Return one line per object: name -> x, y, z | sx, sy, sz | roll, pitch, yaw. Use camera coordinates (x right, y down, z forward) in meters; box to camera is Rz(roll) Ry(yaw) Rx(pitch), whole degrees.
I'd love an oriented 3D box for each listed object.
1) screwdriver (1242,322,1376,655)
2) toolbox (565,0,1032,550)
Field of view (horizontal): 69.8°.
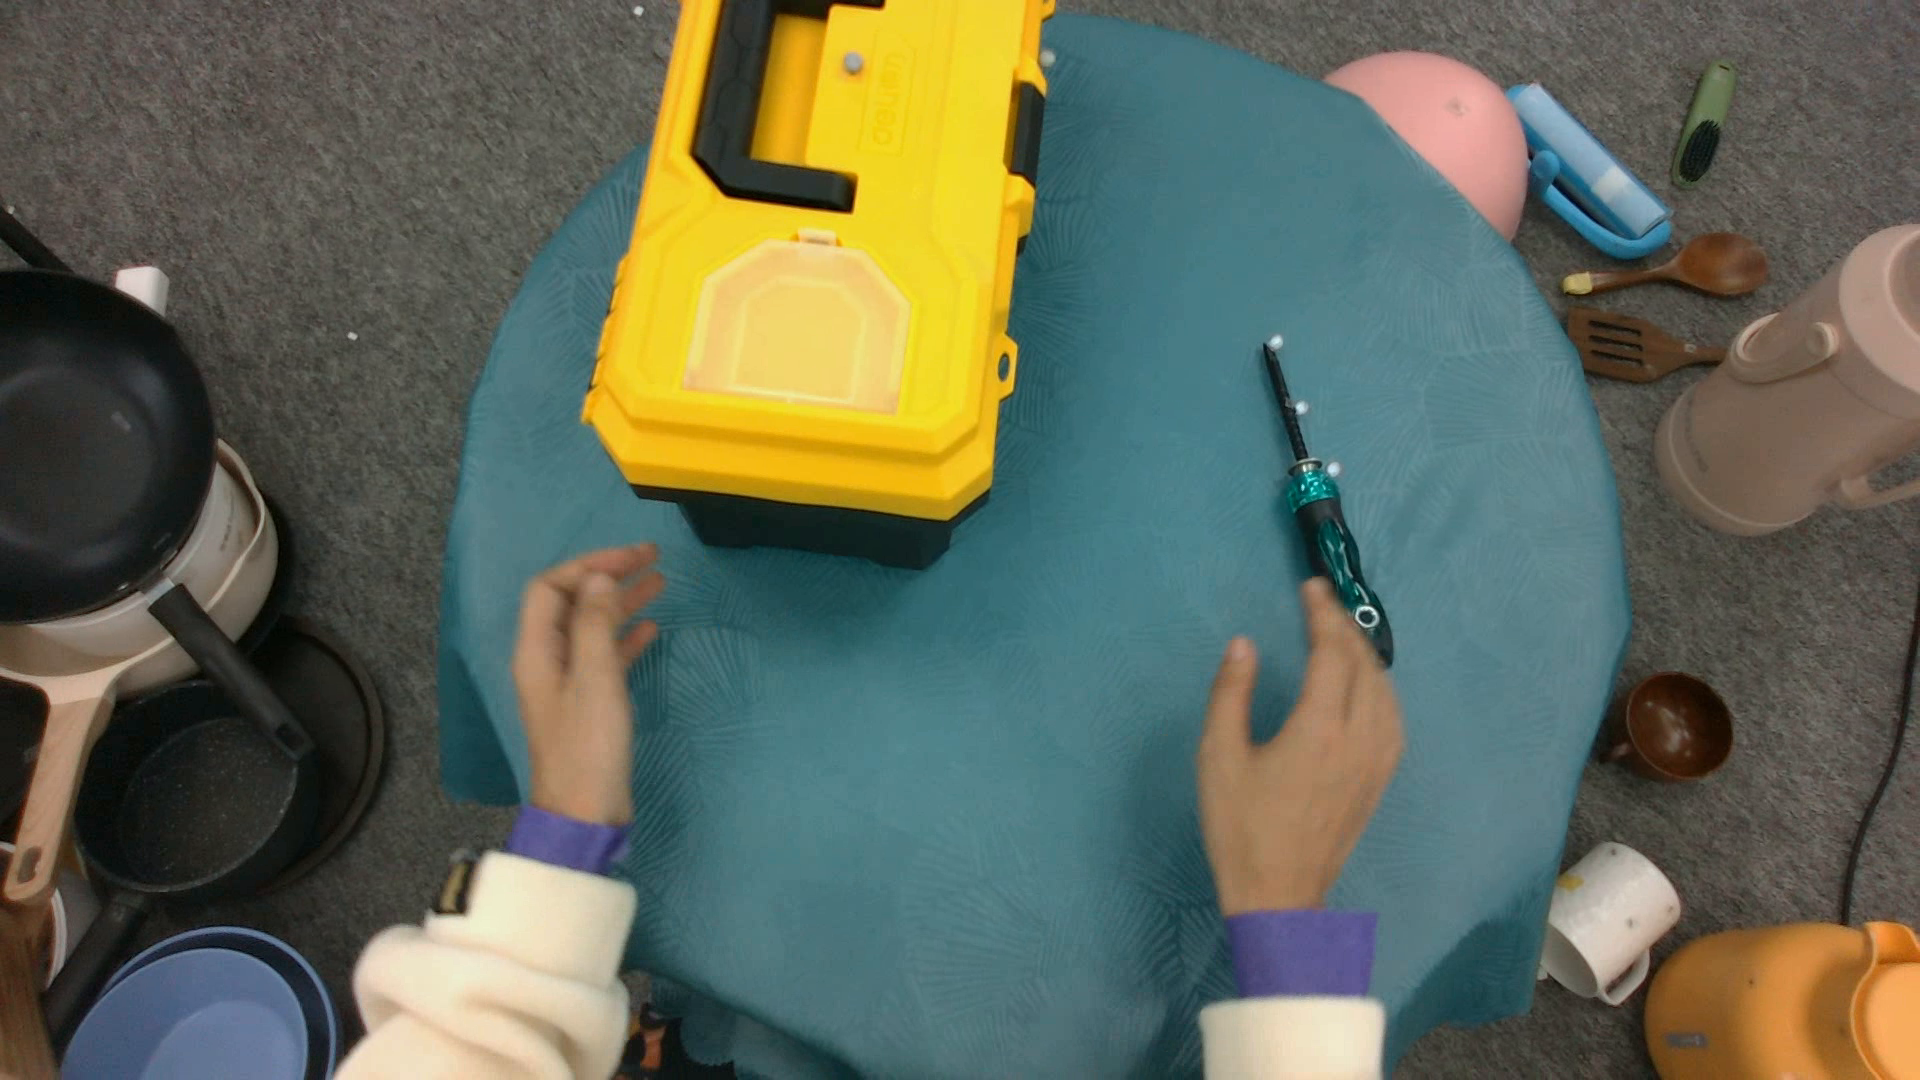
screwdriver -> 0.172, -0.032, 0.706 | 0.034, 0.033, 0.190 | -9, 66, -7
toolbox -> -0.064, -0.176, 0.663 | 0.181, 0.172, 0.352 | 7, 69, -1
